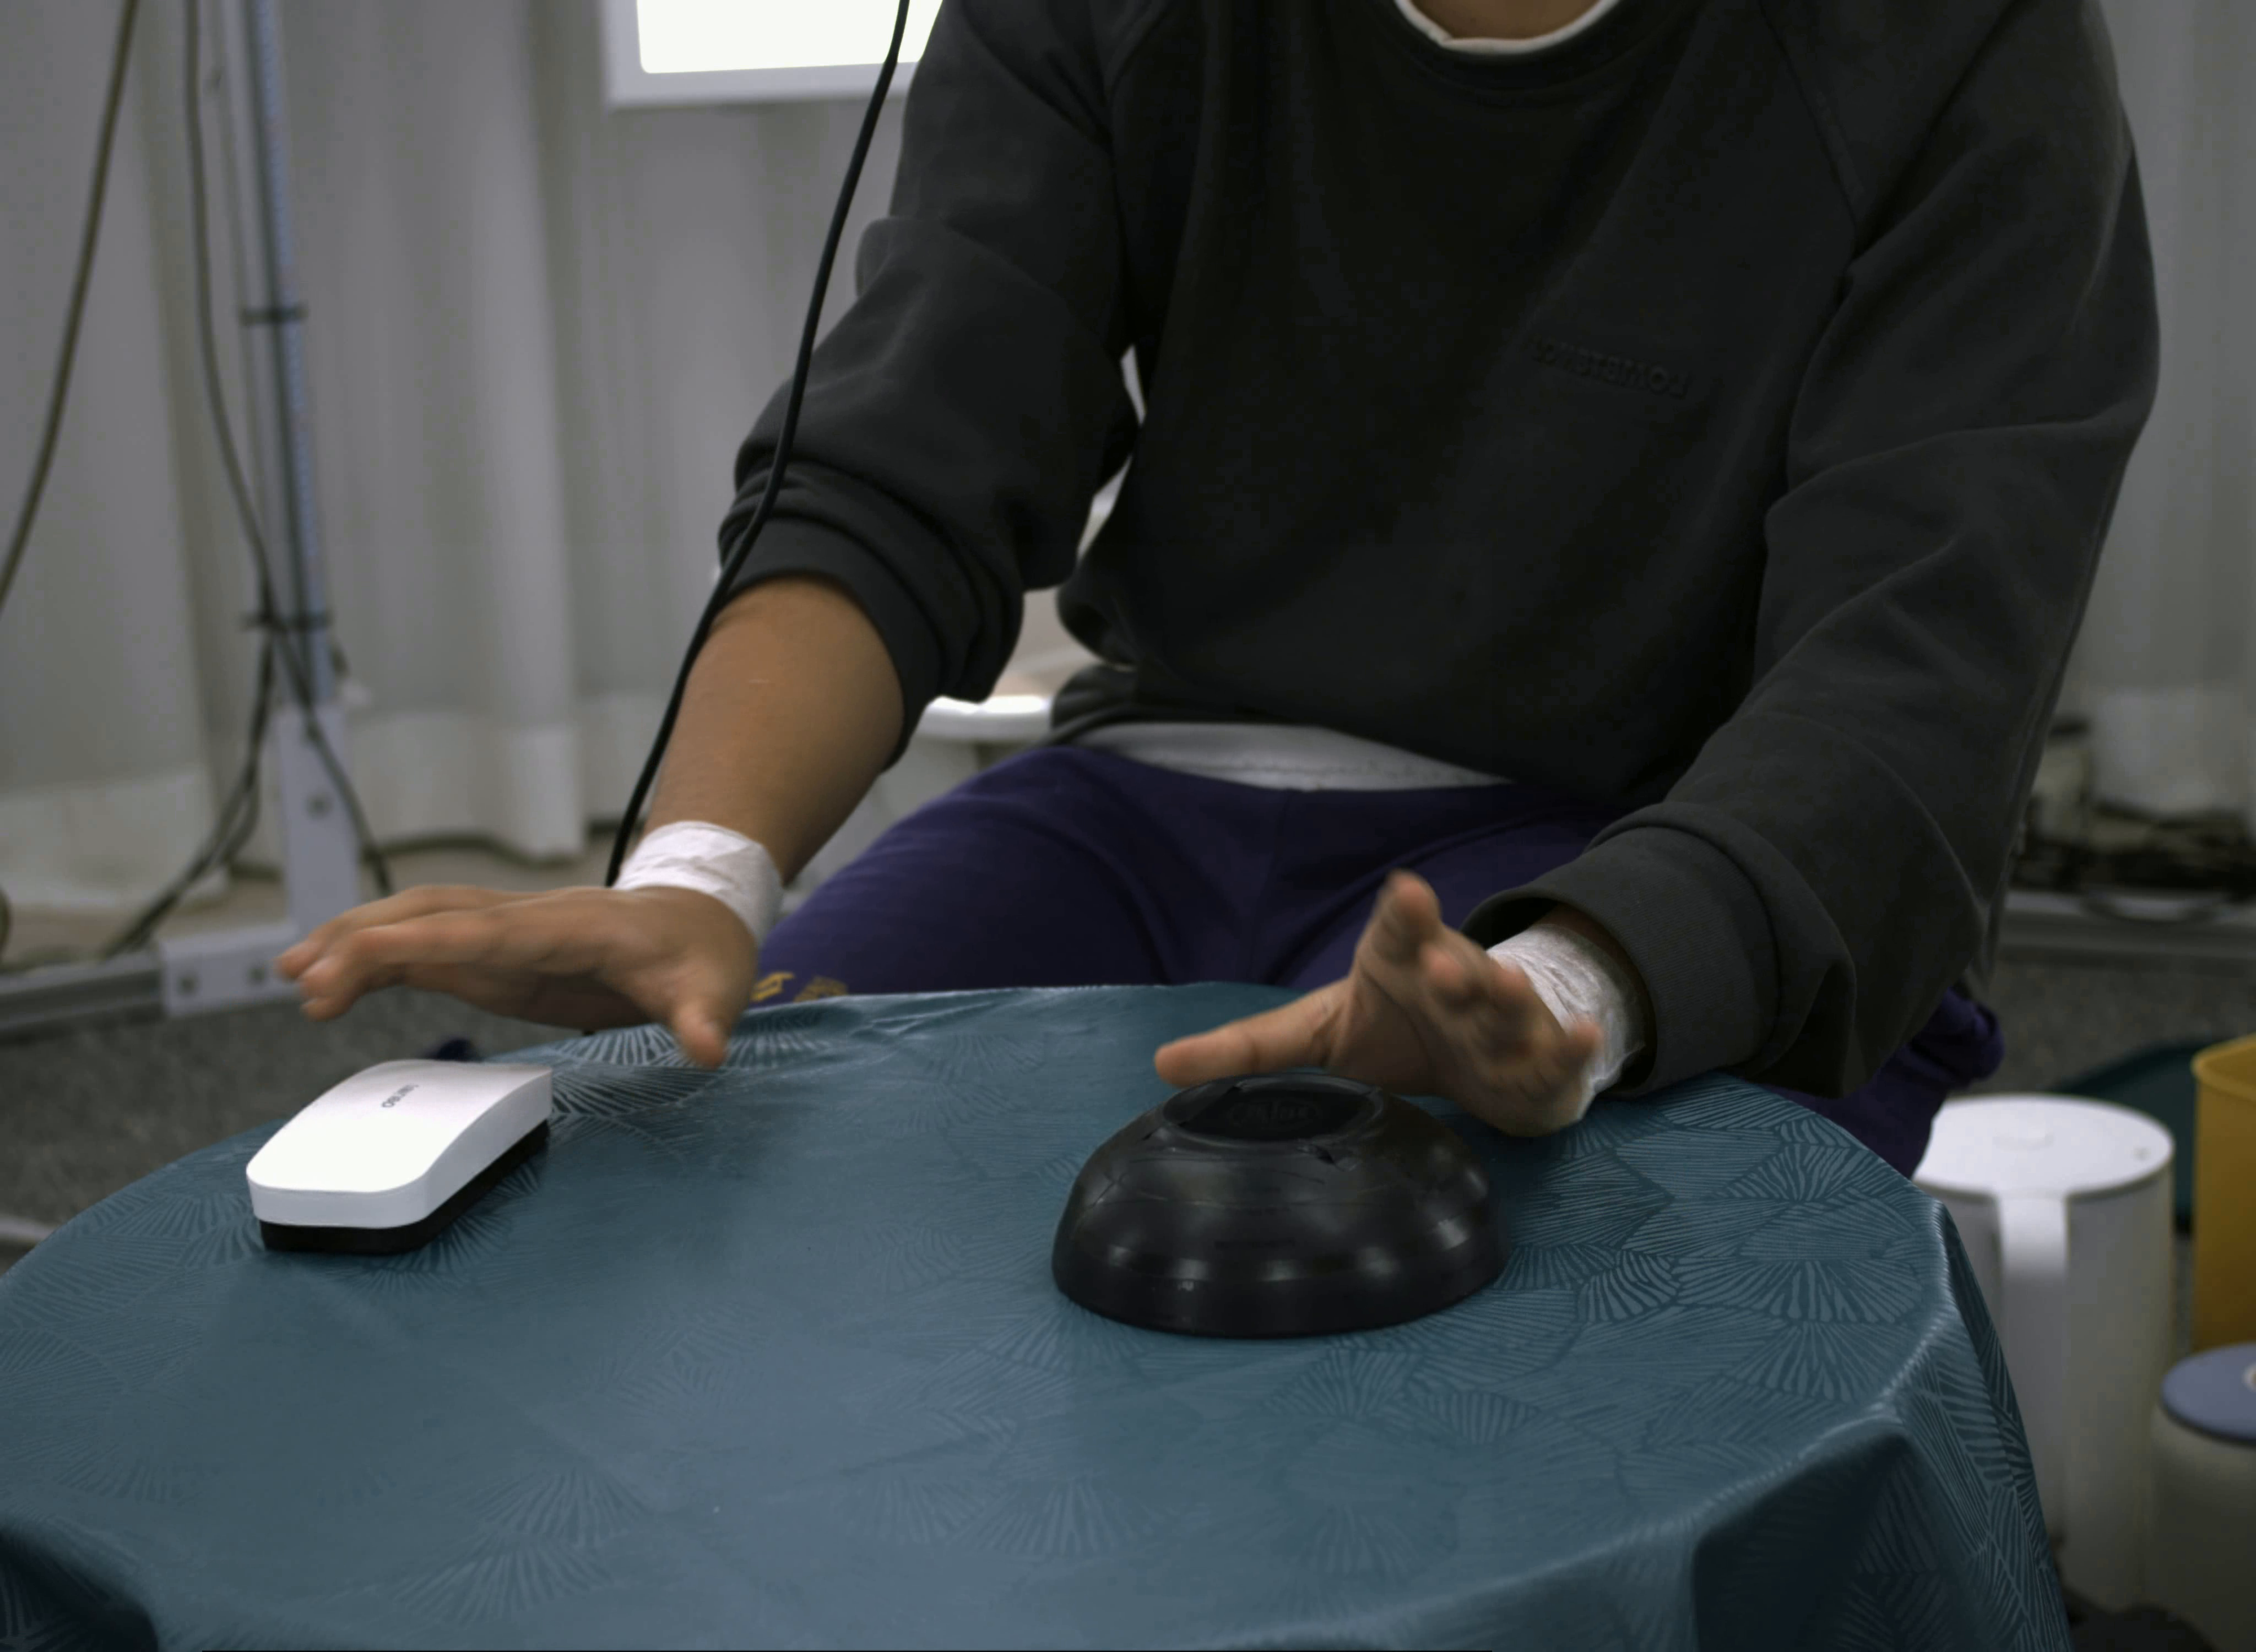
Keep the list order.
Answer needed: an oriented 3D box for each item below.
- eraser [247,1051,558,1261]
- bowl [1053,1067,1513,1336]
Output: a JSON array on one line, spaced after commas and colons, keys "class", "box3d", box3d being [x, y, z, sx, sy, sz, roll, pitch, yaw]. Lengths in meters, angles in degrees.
[{"class": "eraser", "box3d": [-0.229, 0.101, 1.749, 0.063, 0.034, 0.132, 3, 17, 18]}, {"class": "bowl", "box3d": [0.045, 0.106, 1.640, 0.139, 0.049, 0.141, -4, 15, 1]}]
